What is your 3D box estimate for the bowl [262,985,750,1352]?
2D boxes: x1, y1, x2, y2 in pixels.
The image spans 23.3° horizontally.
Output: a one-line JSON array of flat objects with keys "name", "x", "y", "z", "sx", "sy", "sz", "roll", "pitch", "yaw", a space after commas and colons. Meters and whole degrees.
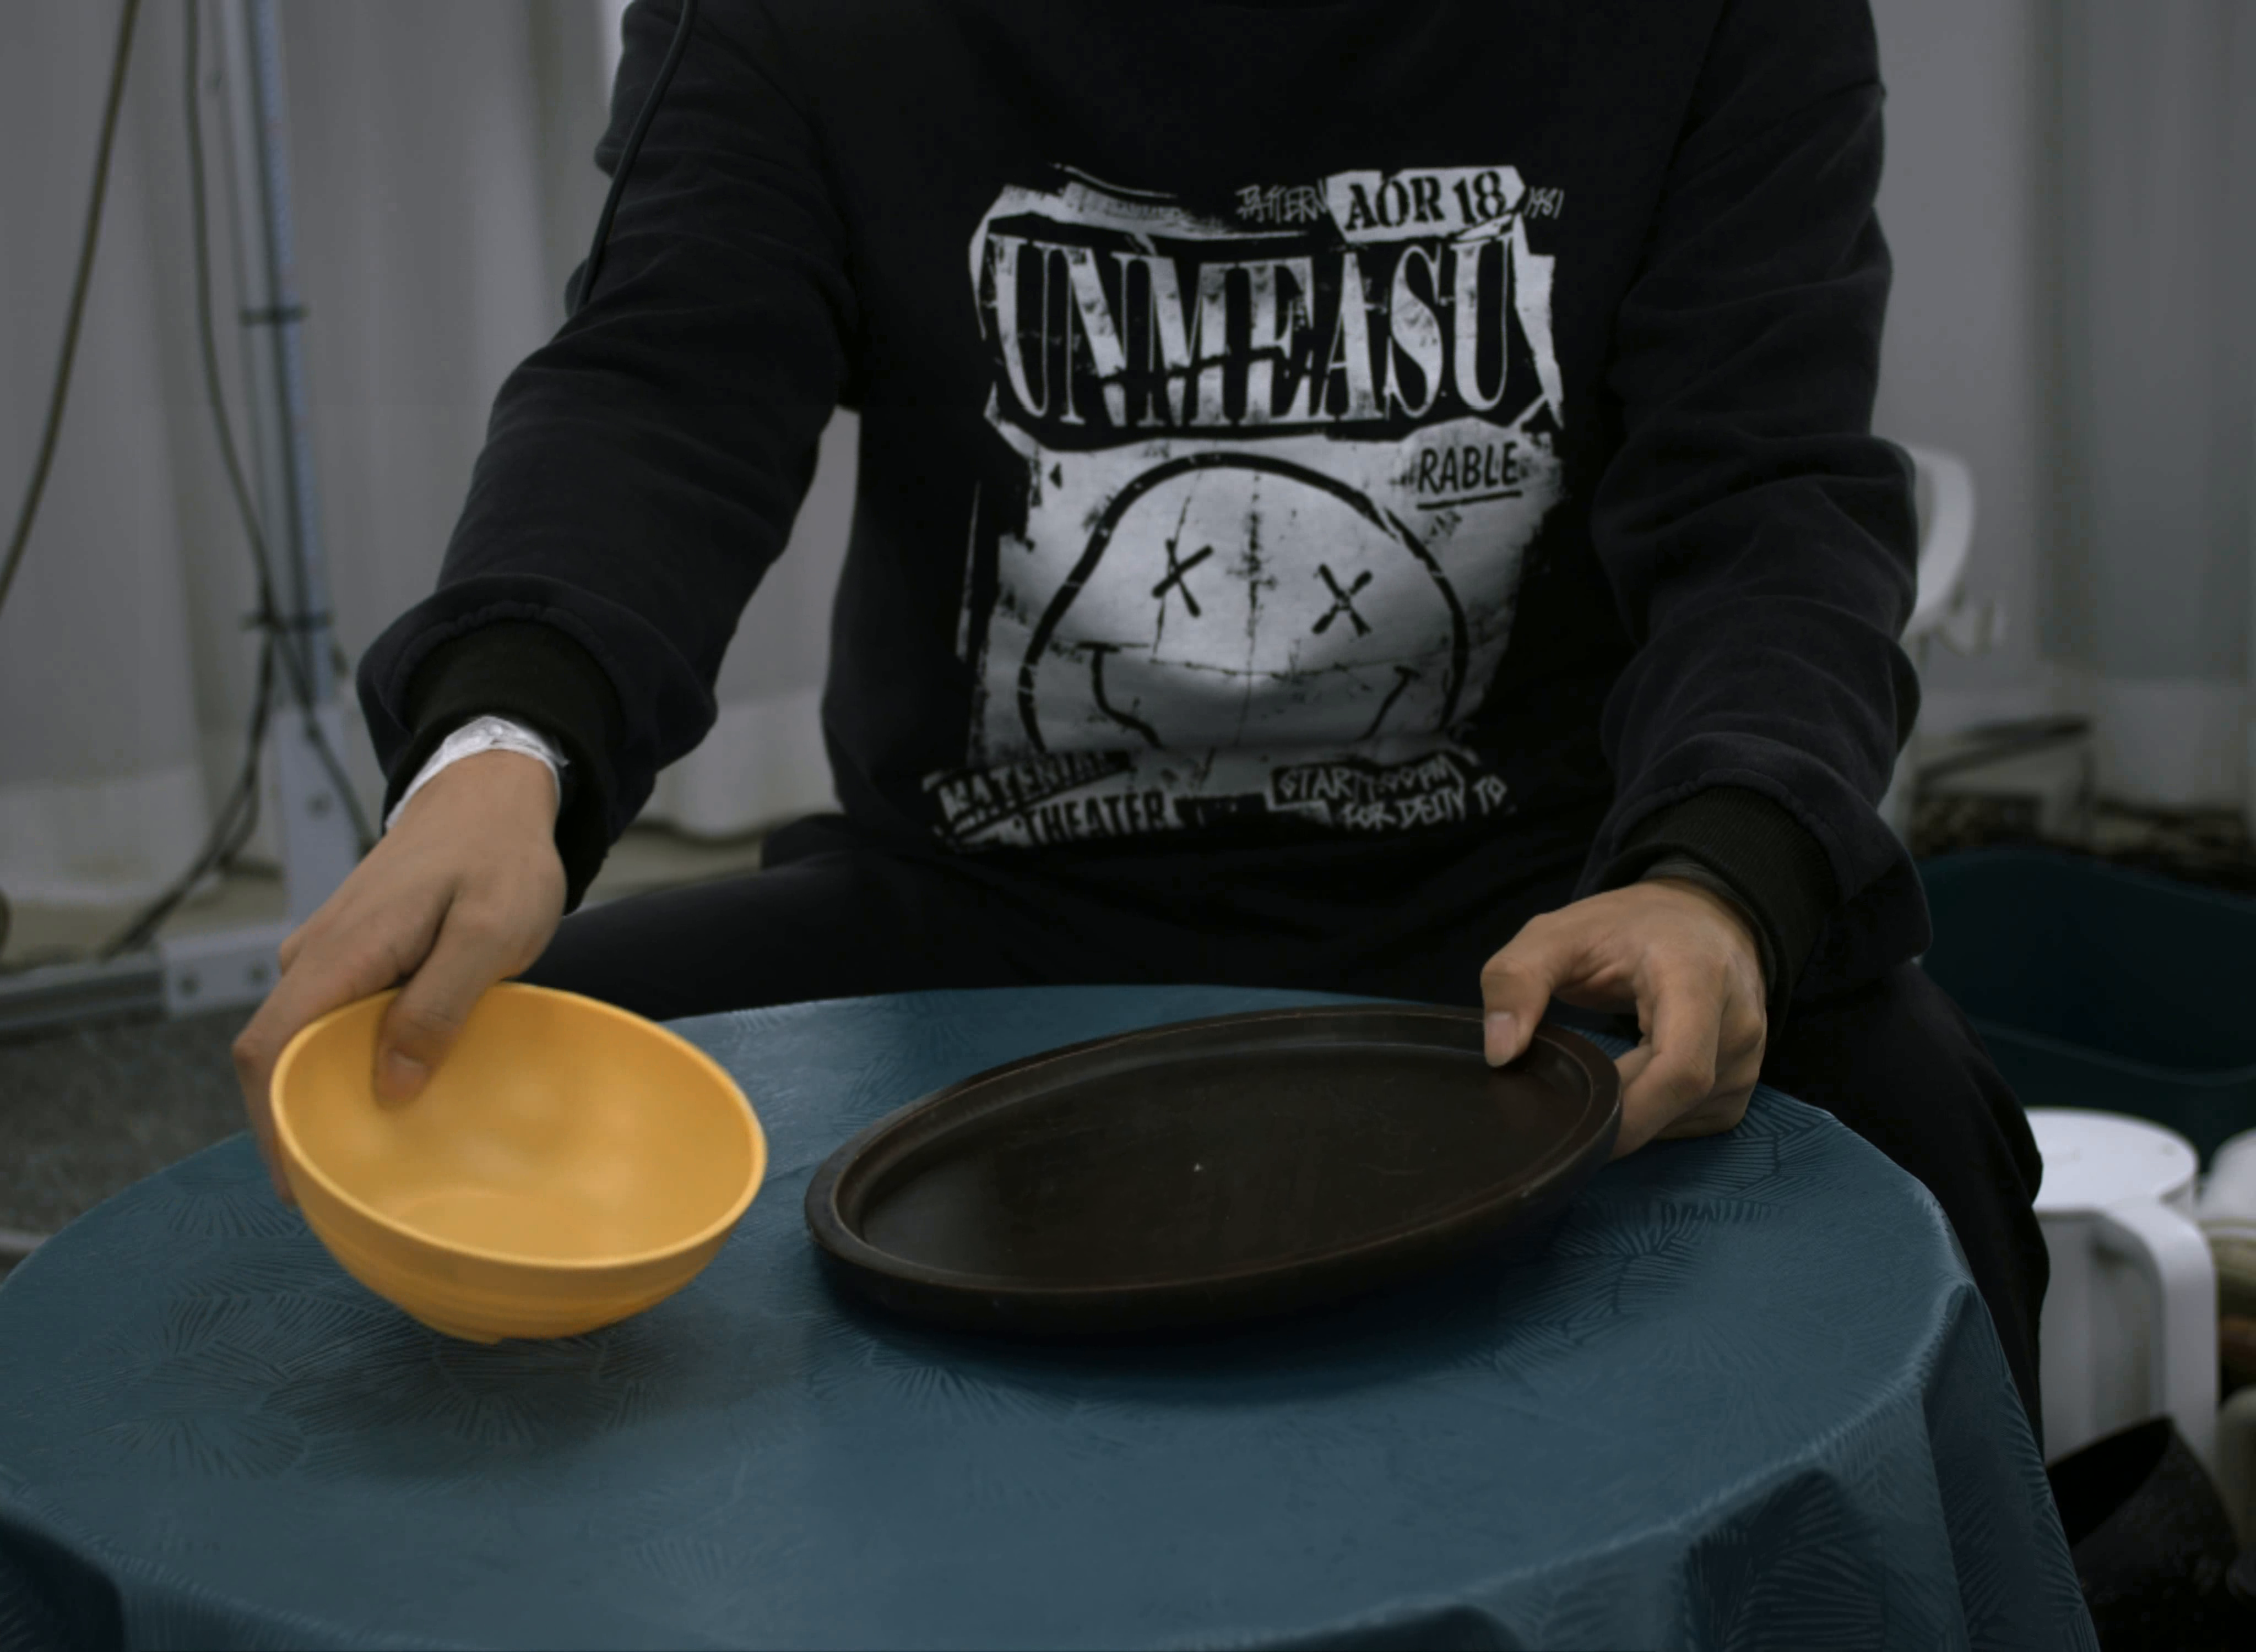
[{"name": "bowl", "x": -0.187, "y": 0.111, "z": 1.597, "sx": 0.144, "sy": 0.059, "sz": 0.147, "roll": 13, "pitch": 27, "yaw": -7}]

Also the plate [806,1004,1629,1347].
[{"name": "plate", "x": 0.027, "y": 0.104, "z": 1.661, "sx": 0.254, "sy": 0.029, "sz": 0.256, "roll": -10, "pitch": 13, "yaw": 2}]
